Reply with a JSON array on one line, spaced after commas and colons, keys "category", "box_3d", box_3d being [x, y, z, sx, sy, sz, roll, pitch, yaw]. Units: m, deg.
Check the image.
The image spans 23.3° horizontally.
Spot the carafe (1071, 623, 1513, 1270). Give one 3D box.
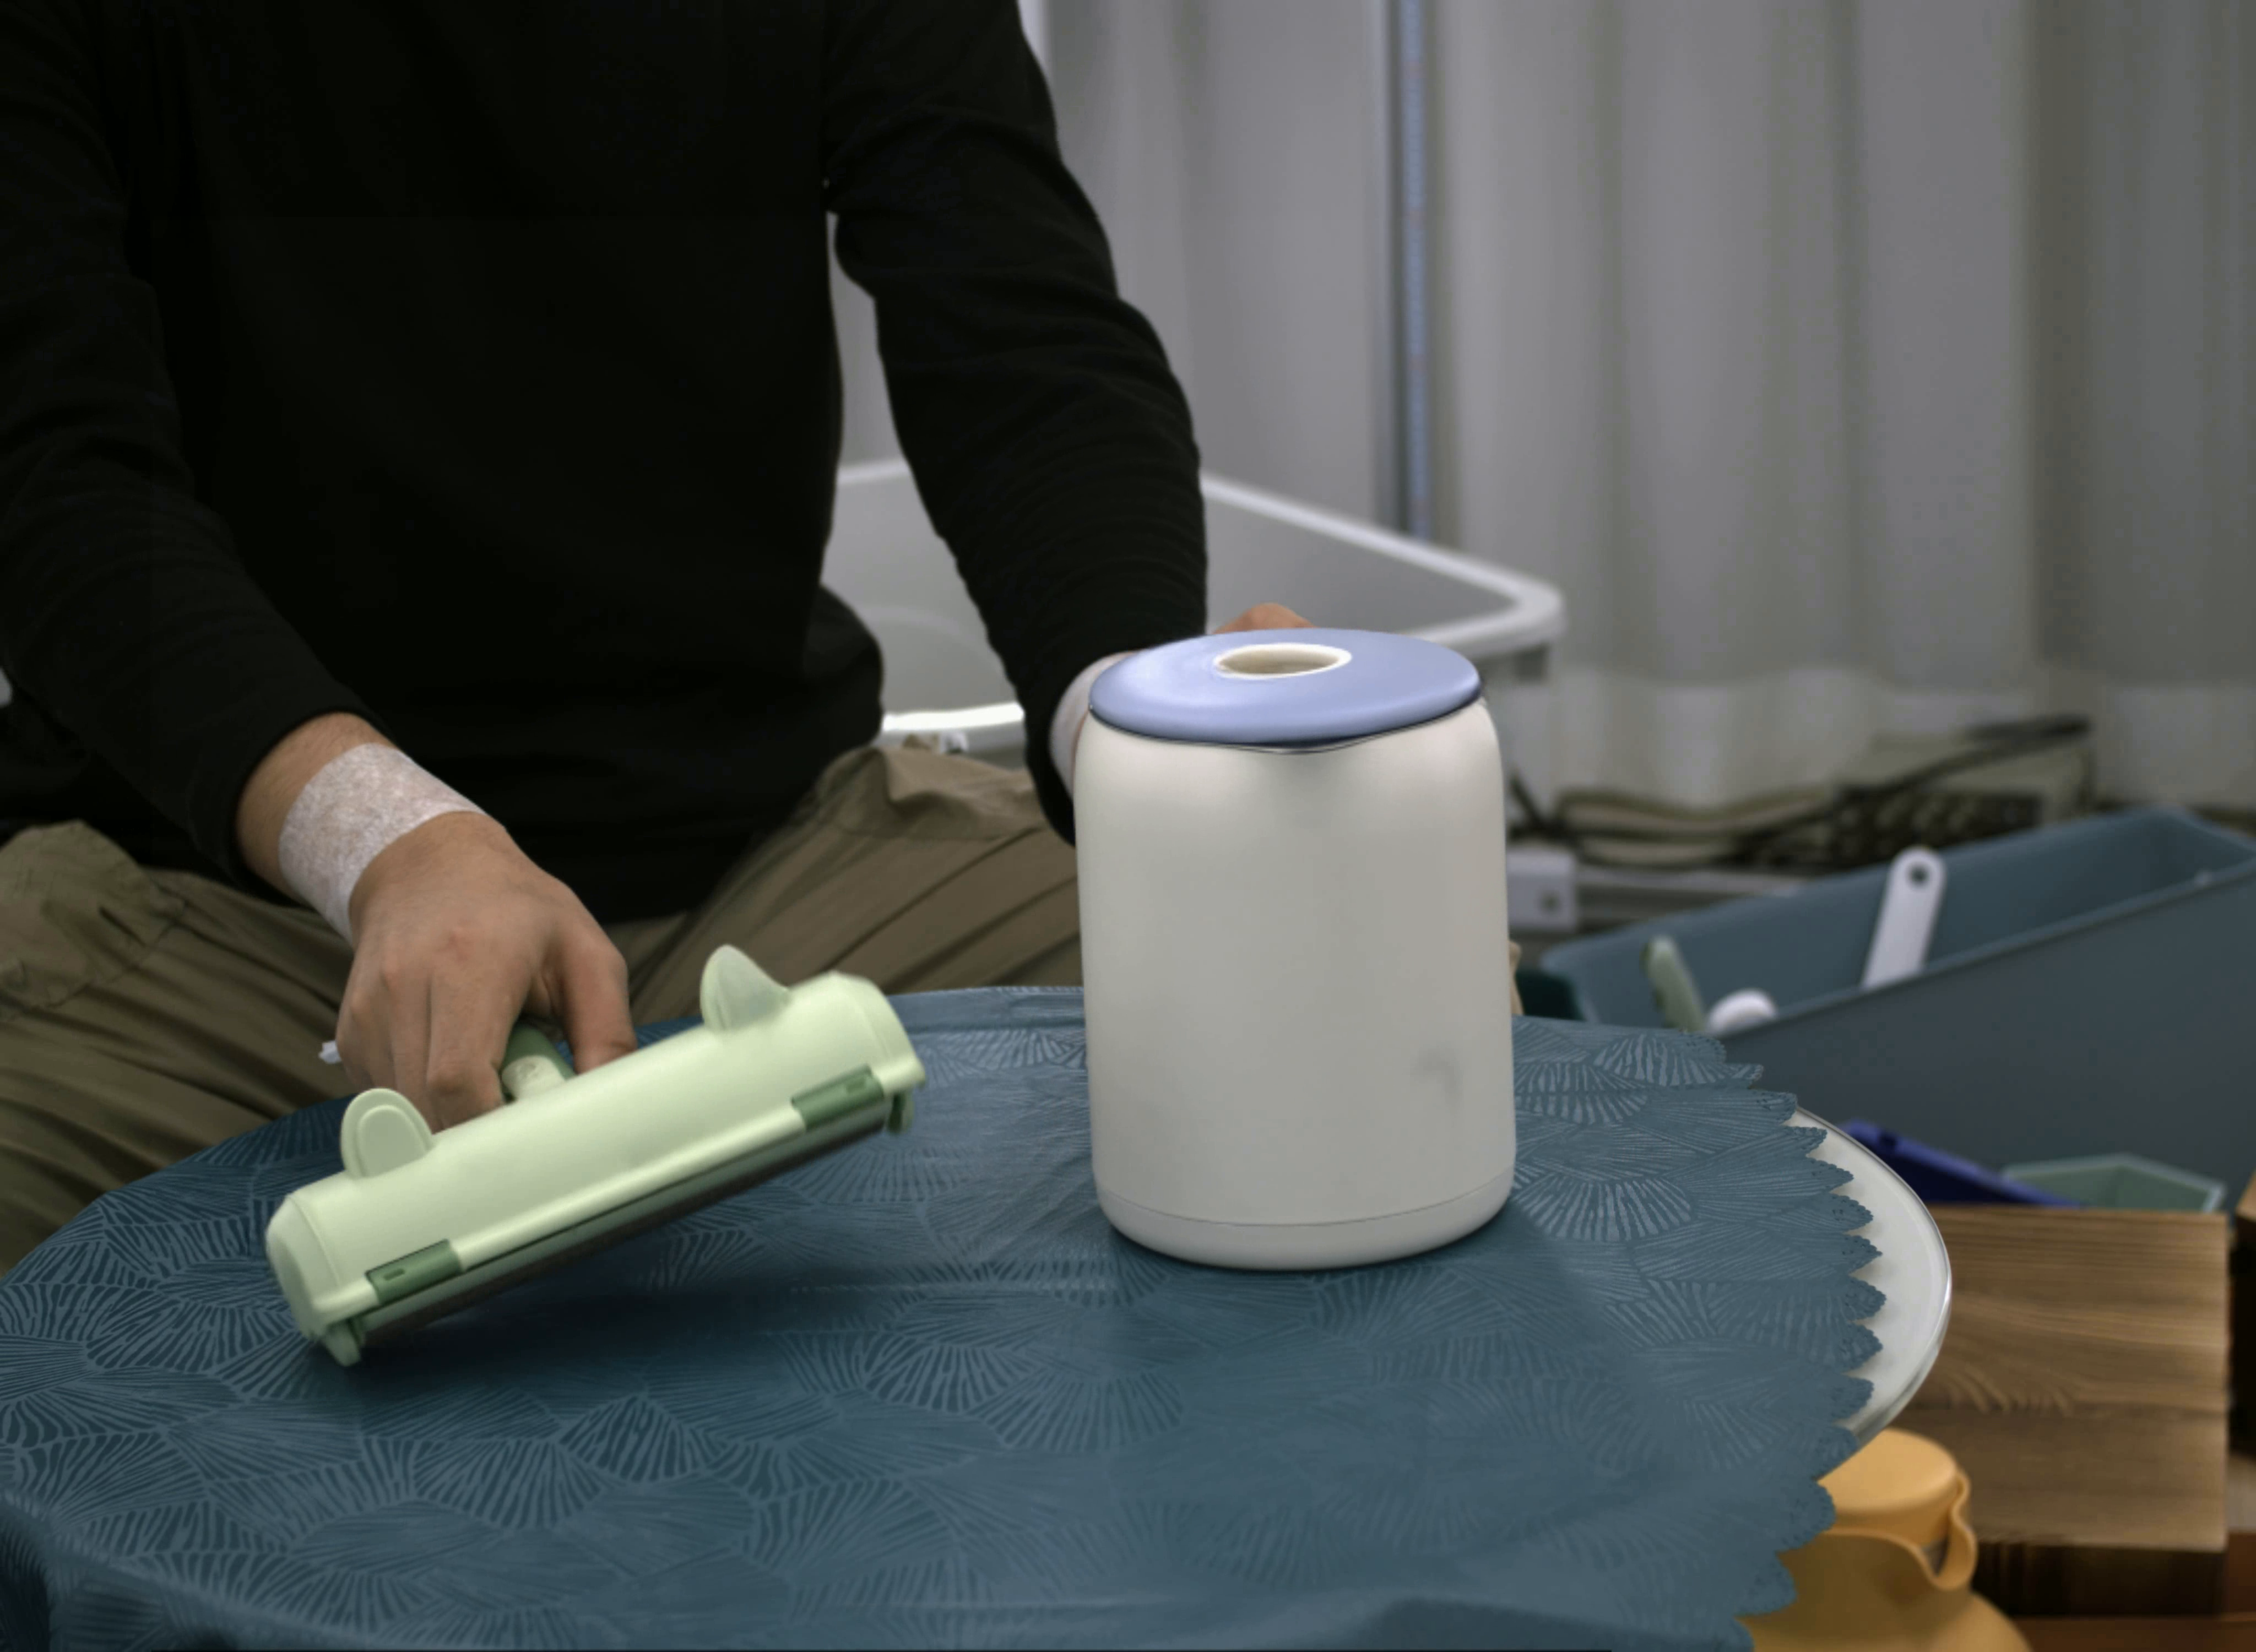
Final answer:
[{"category": "carafe", "box_3d": [0.048, 0.030, 1.692, 0.132, 0.182, 0.192, -3, 12, -5]}]

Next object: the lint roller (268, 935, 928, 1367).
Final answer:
[{"category": "lint roller", "box_3d": [-0.181, 0.073, 1.660, 0.198, 0.081, 0.185, -23, 30, -18]}]
